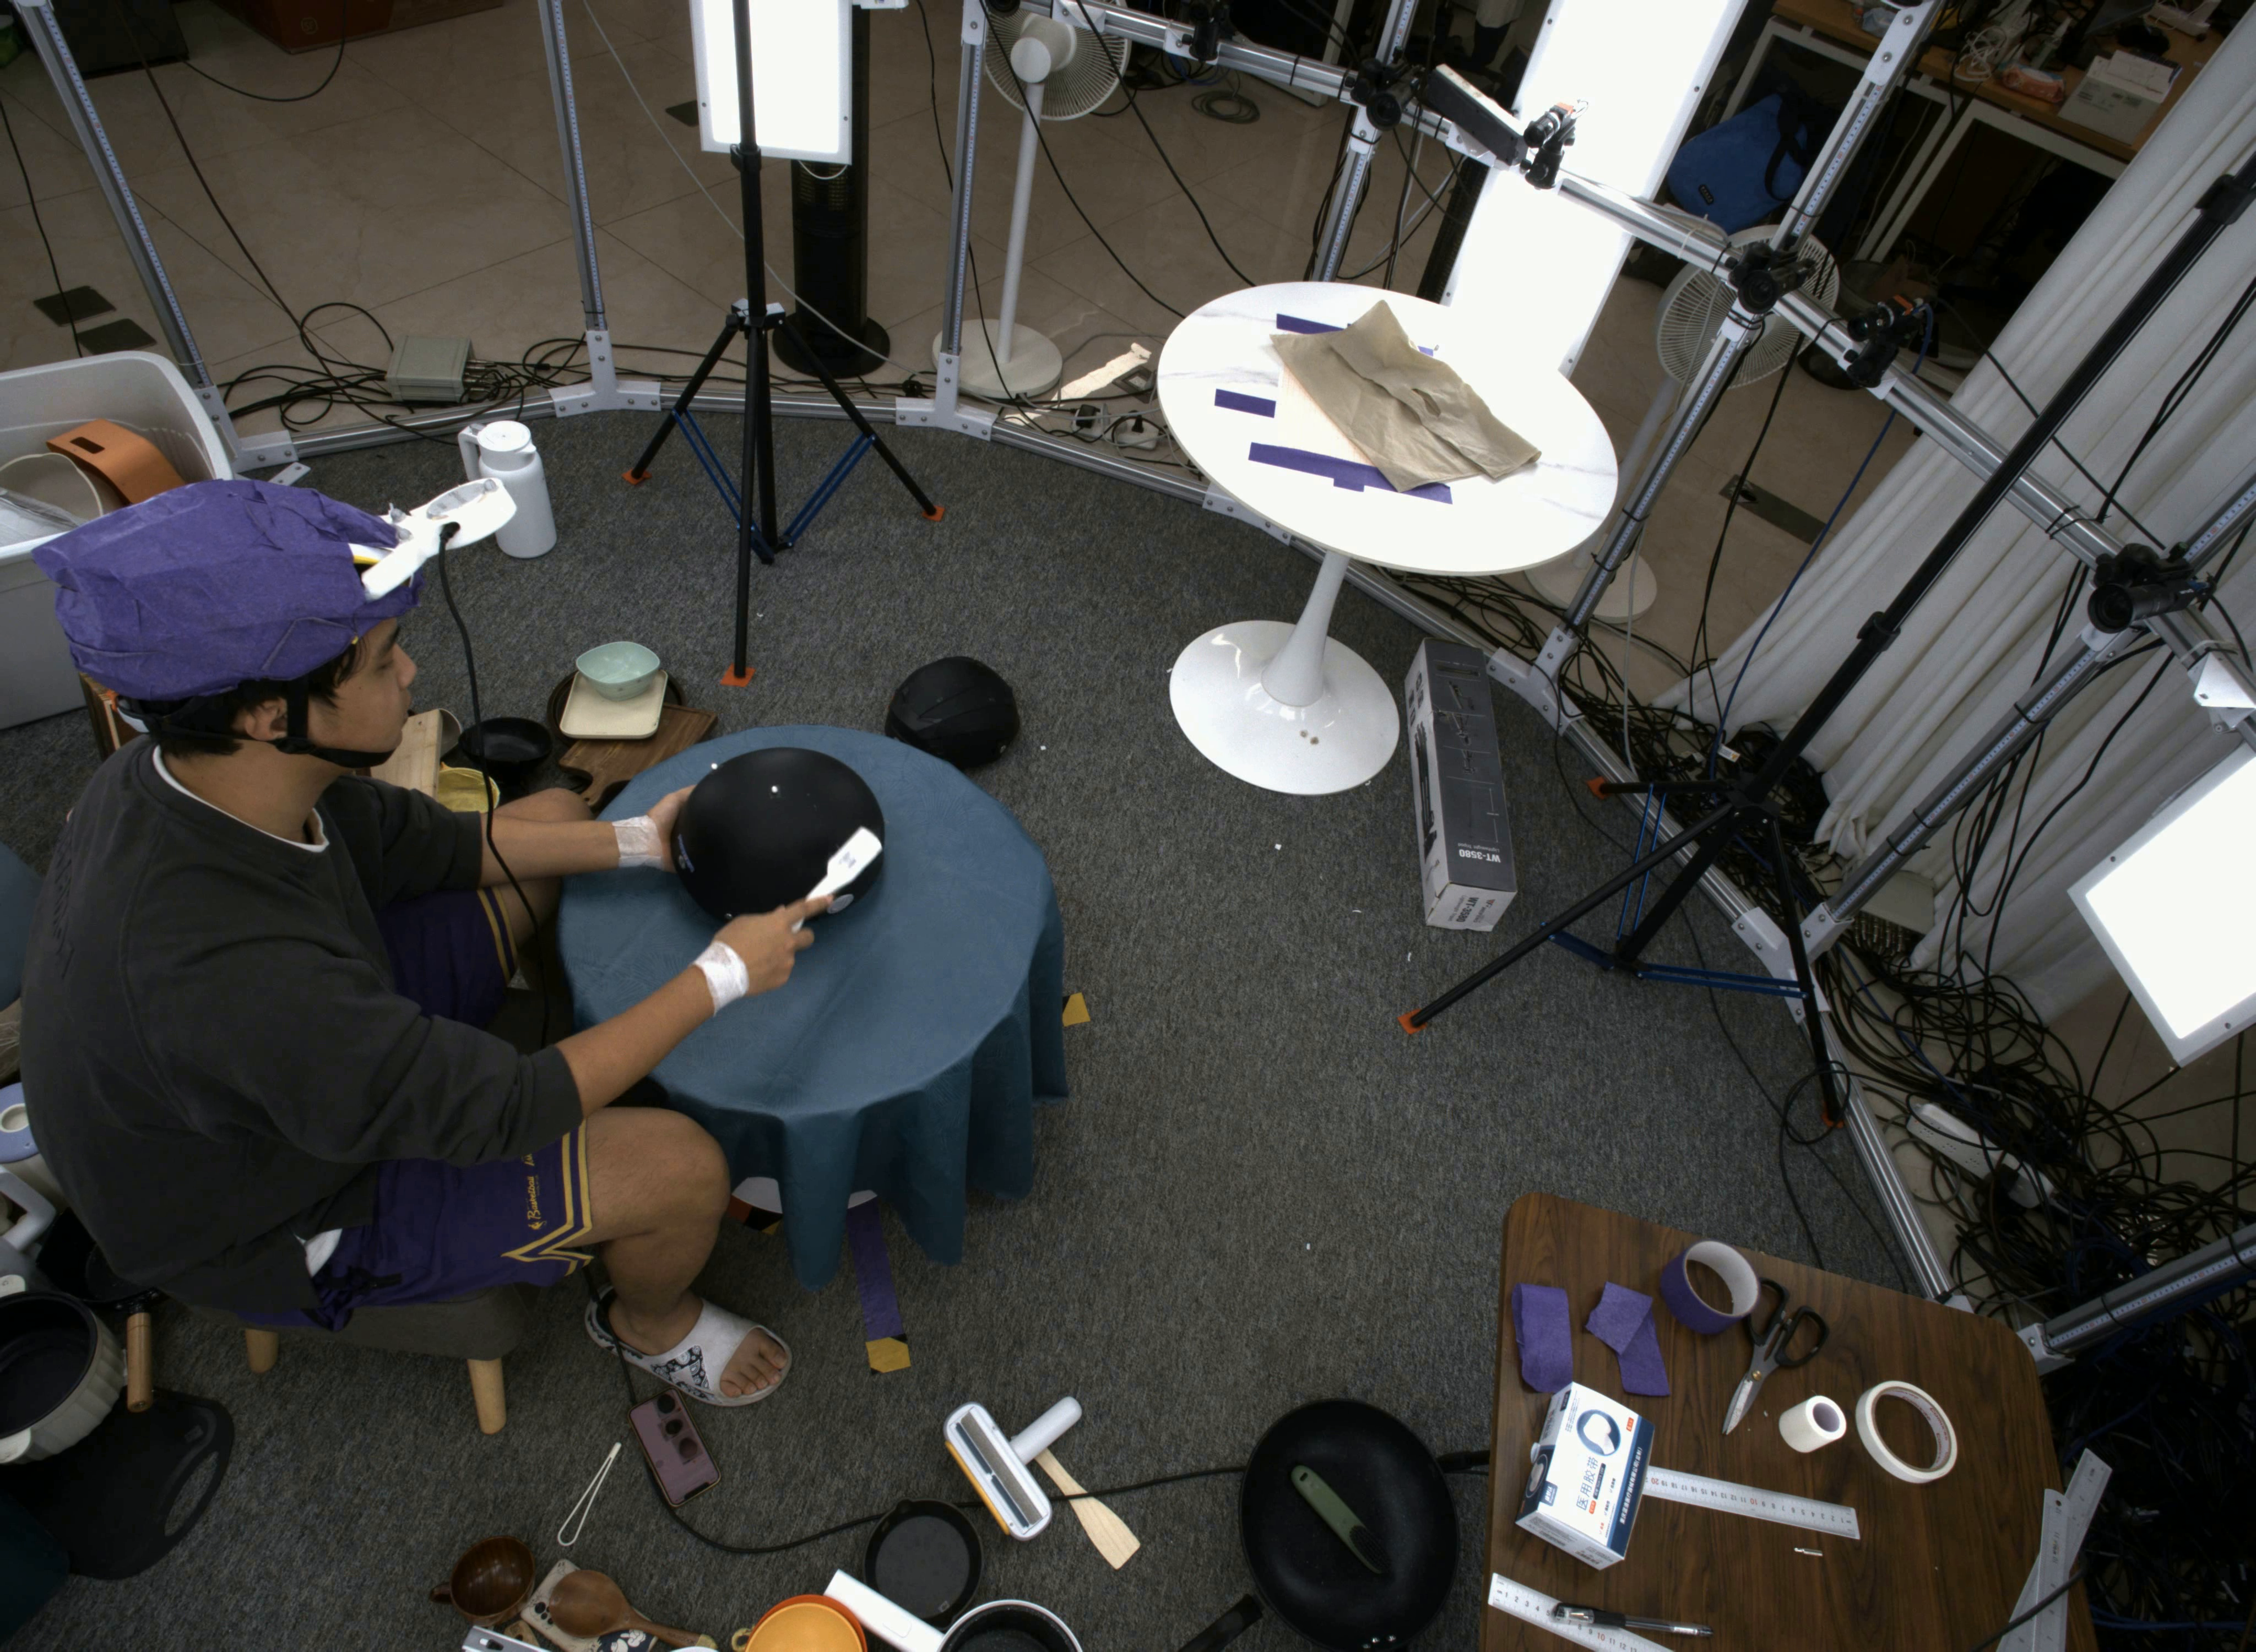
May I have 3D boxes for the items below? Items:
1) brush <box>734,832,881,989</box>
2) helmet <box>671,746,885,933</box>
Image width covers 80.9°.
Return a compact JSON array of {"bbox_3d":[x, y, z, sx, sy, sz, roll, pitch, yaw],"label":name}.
[{"bbox_3d":[-0.368,0.095,1.490,0.035,0.050,0.243,43,61,-9],"label":"brush"},{"bbox_3d":[-0.429,-0.002,1.616,0.275,0.168,0.226,-13,66,-27],"label":"helmet"}]
